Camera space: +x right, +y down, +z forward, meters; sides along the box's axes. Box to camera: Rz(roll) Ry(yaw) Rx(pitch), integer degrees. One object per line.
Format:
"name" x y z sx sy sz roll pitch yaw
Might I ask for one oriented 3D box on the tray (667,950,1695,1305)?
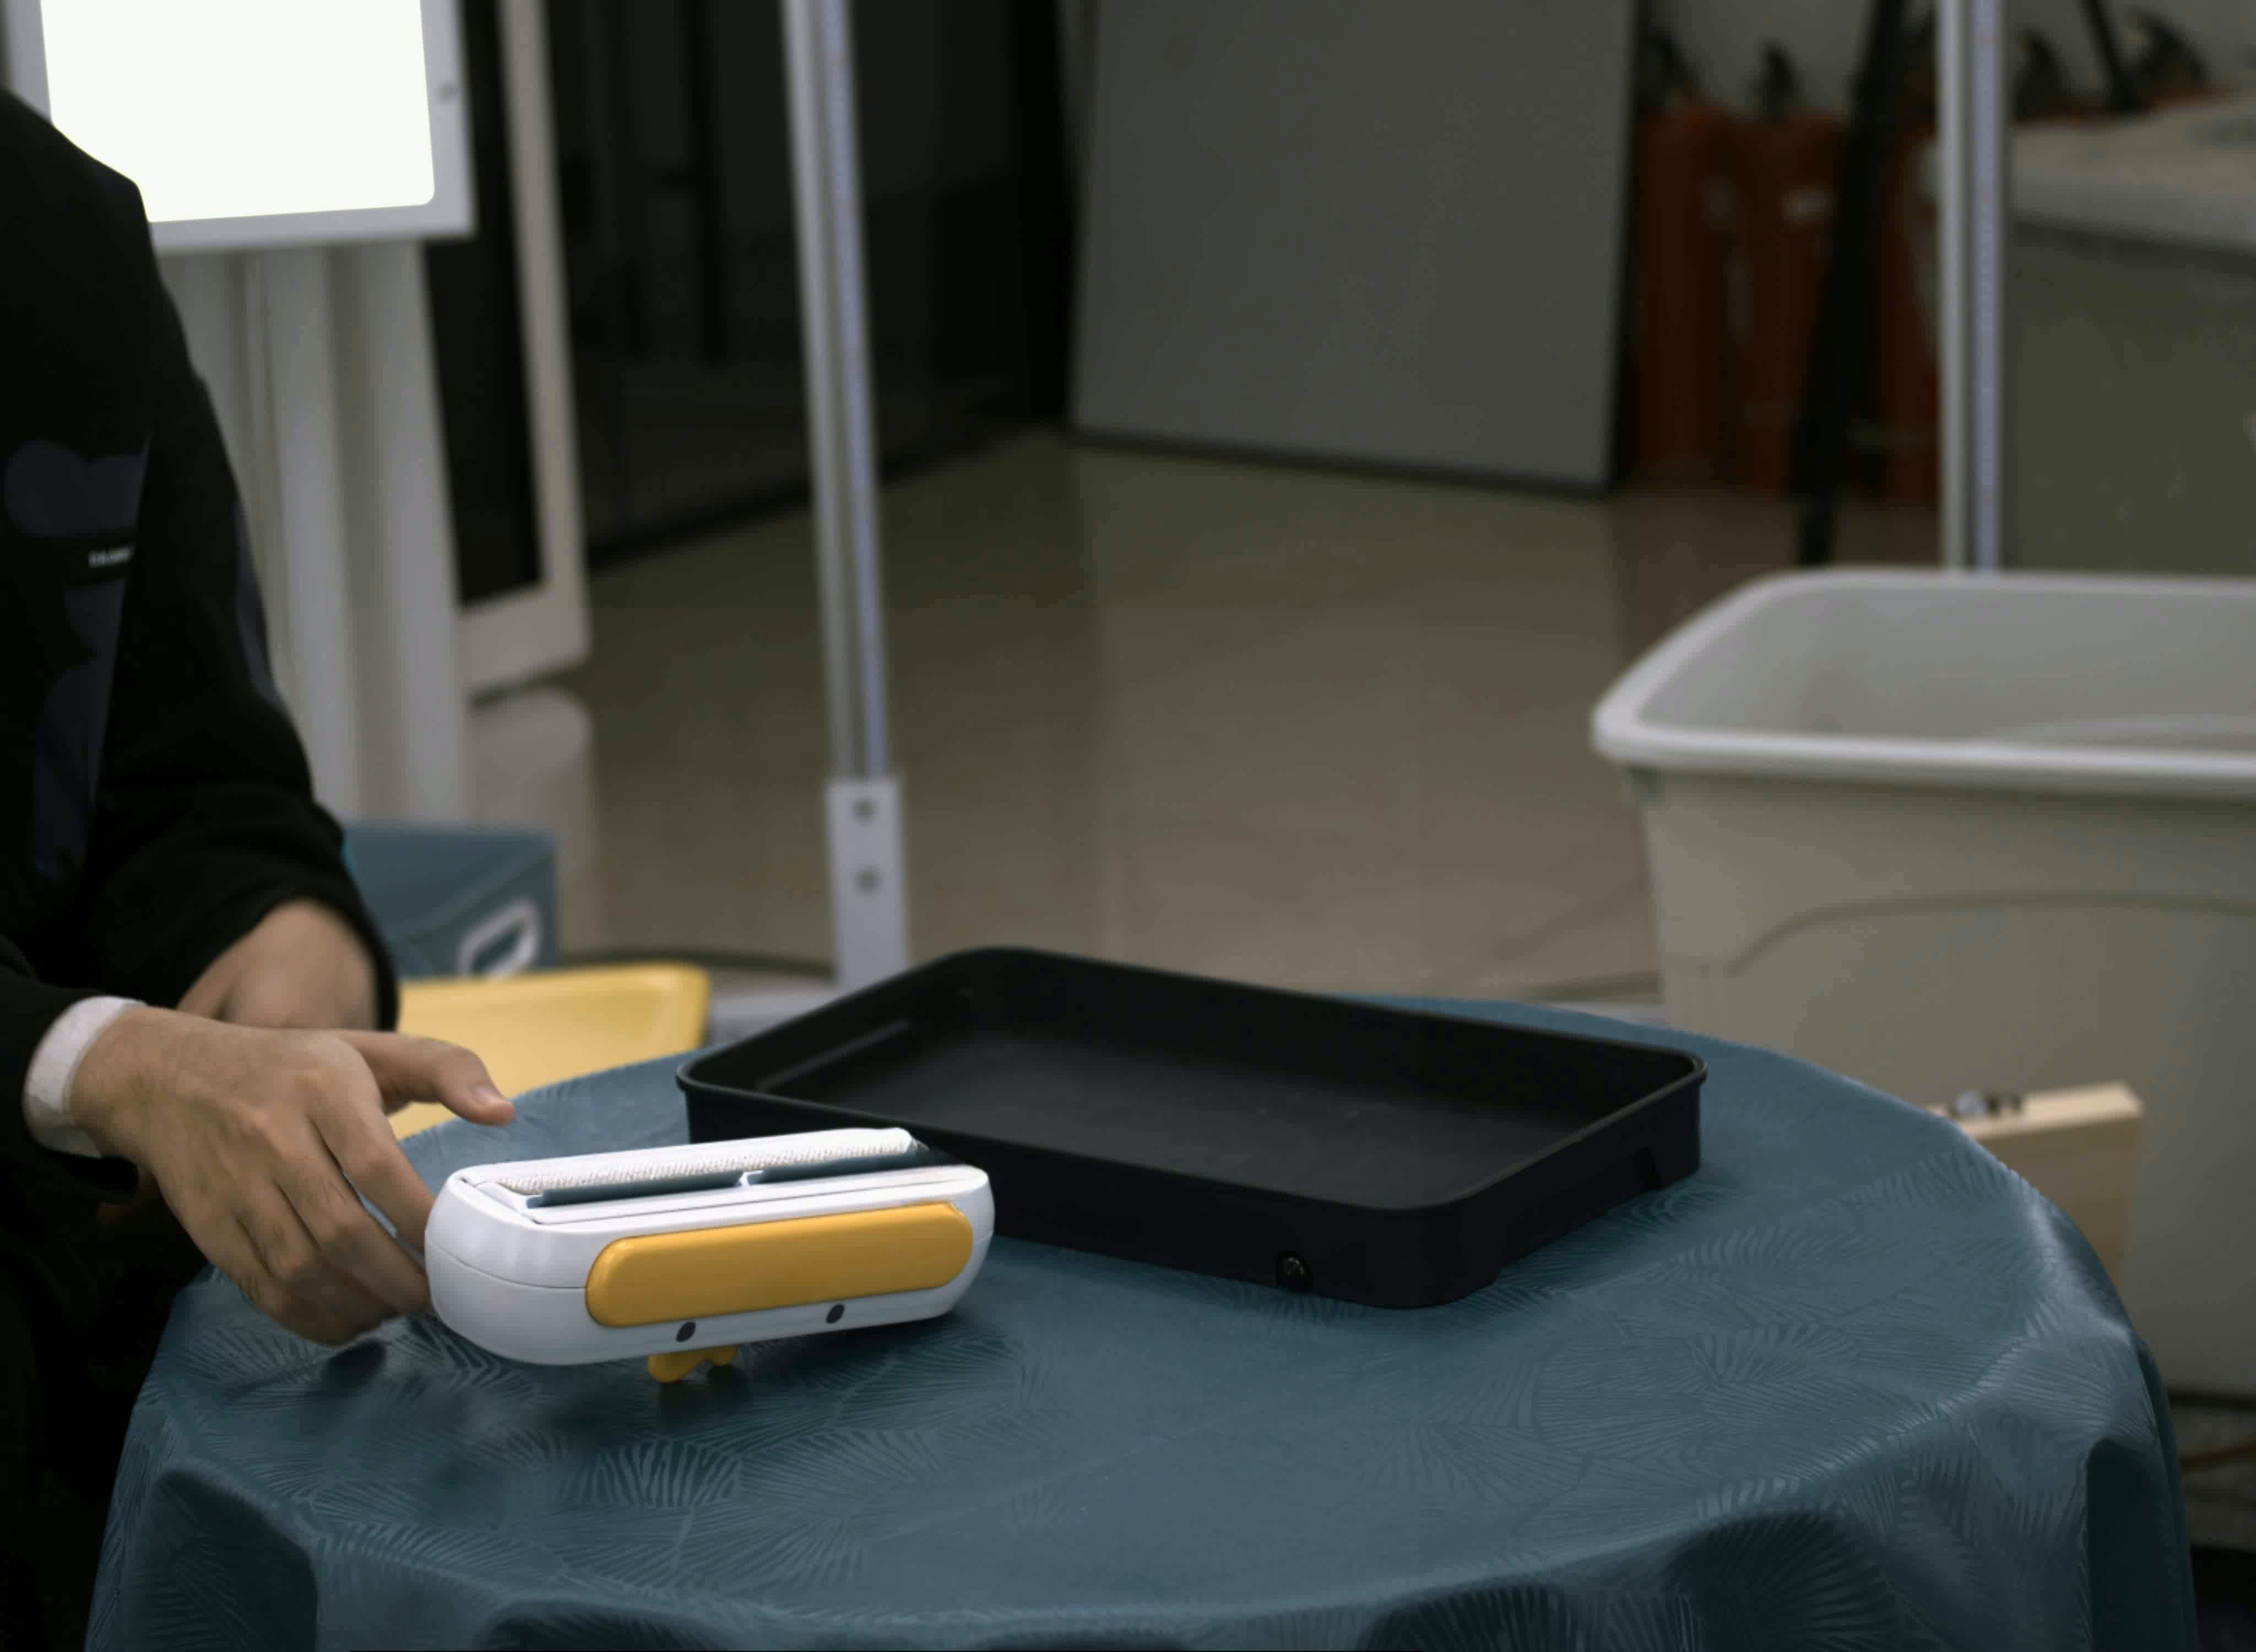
"tray" 0.016 0.096 1.794 0.320 0.037 0.181 7 18 36

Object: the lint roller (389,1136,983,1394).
"lint roller" -0.164 0.126 1.662 0.188 0.075 0.194 -7 11 -37
